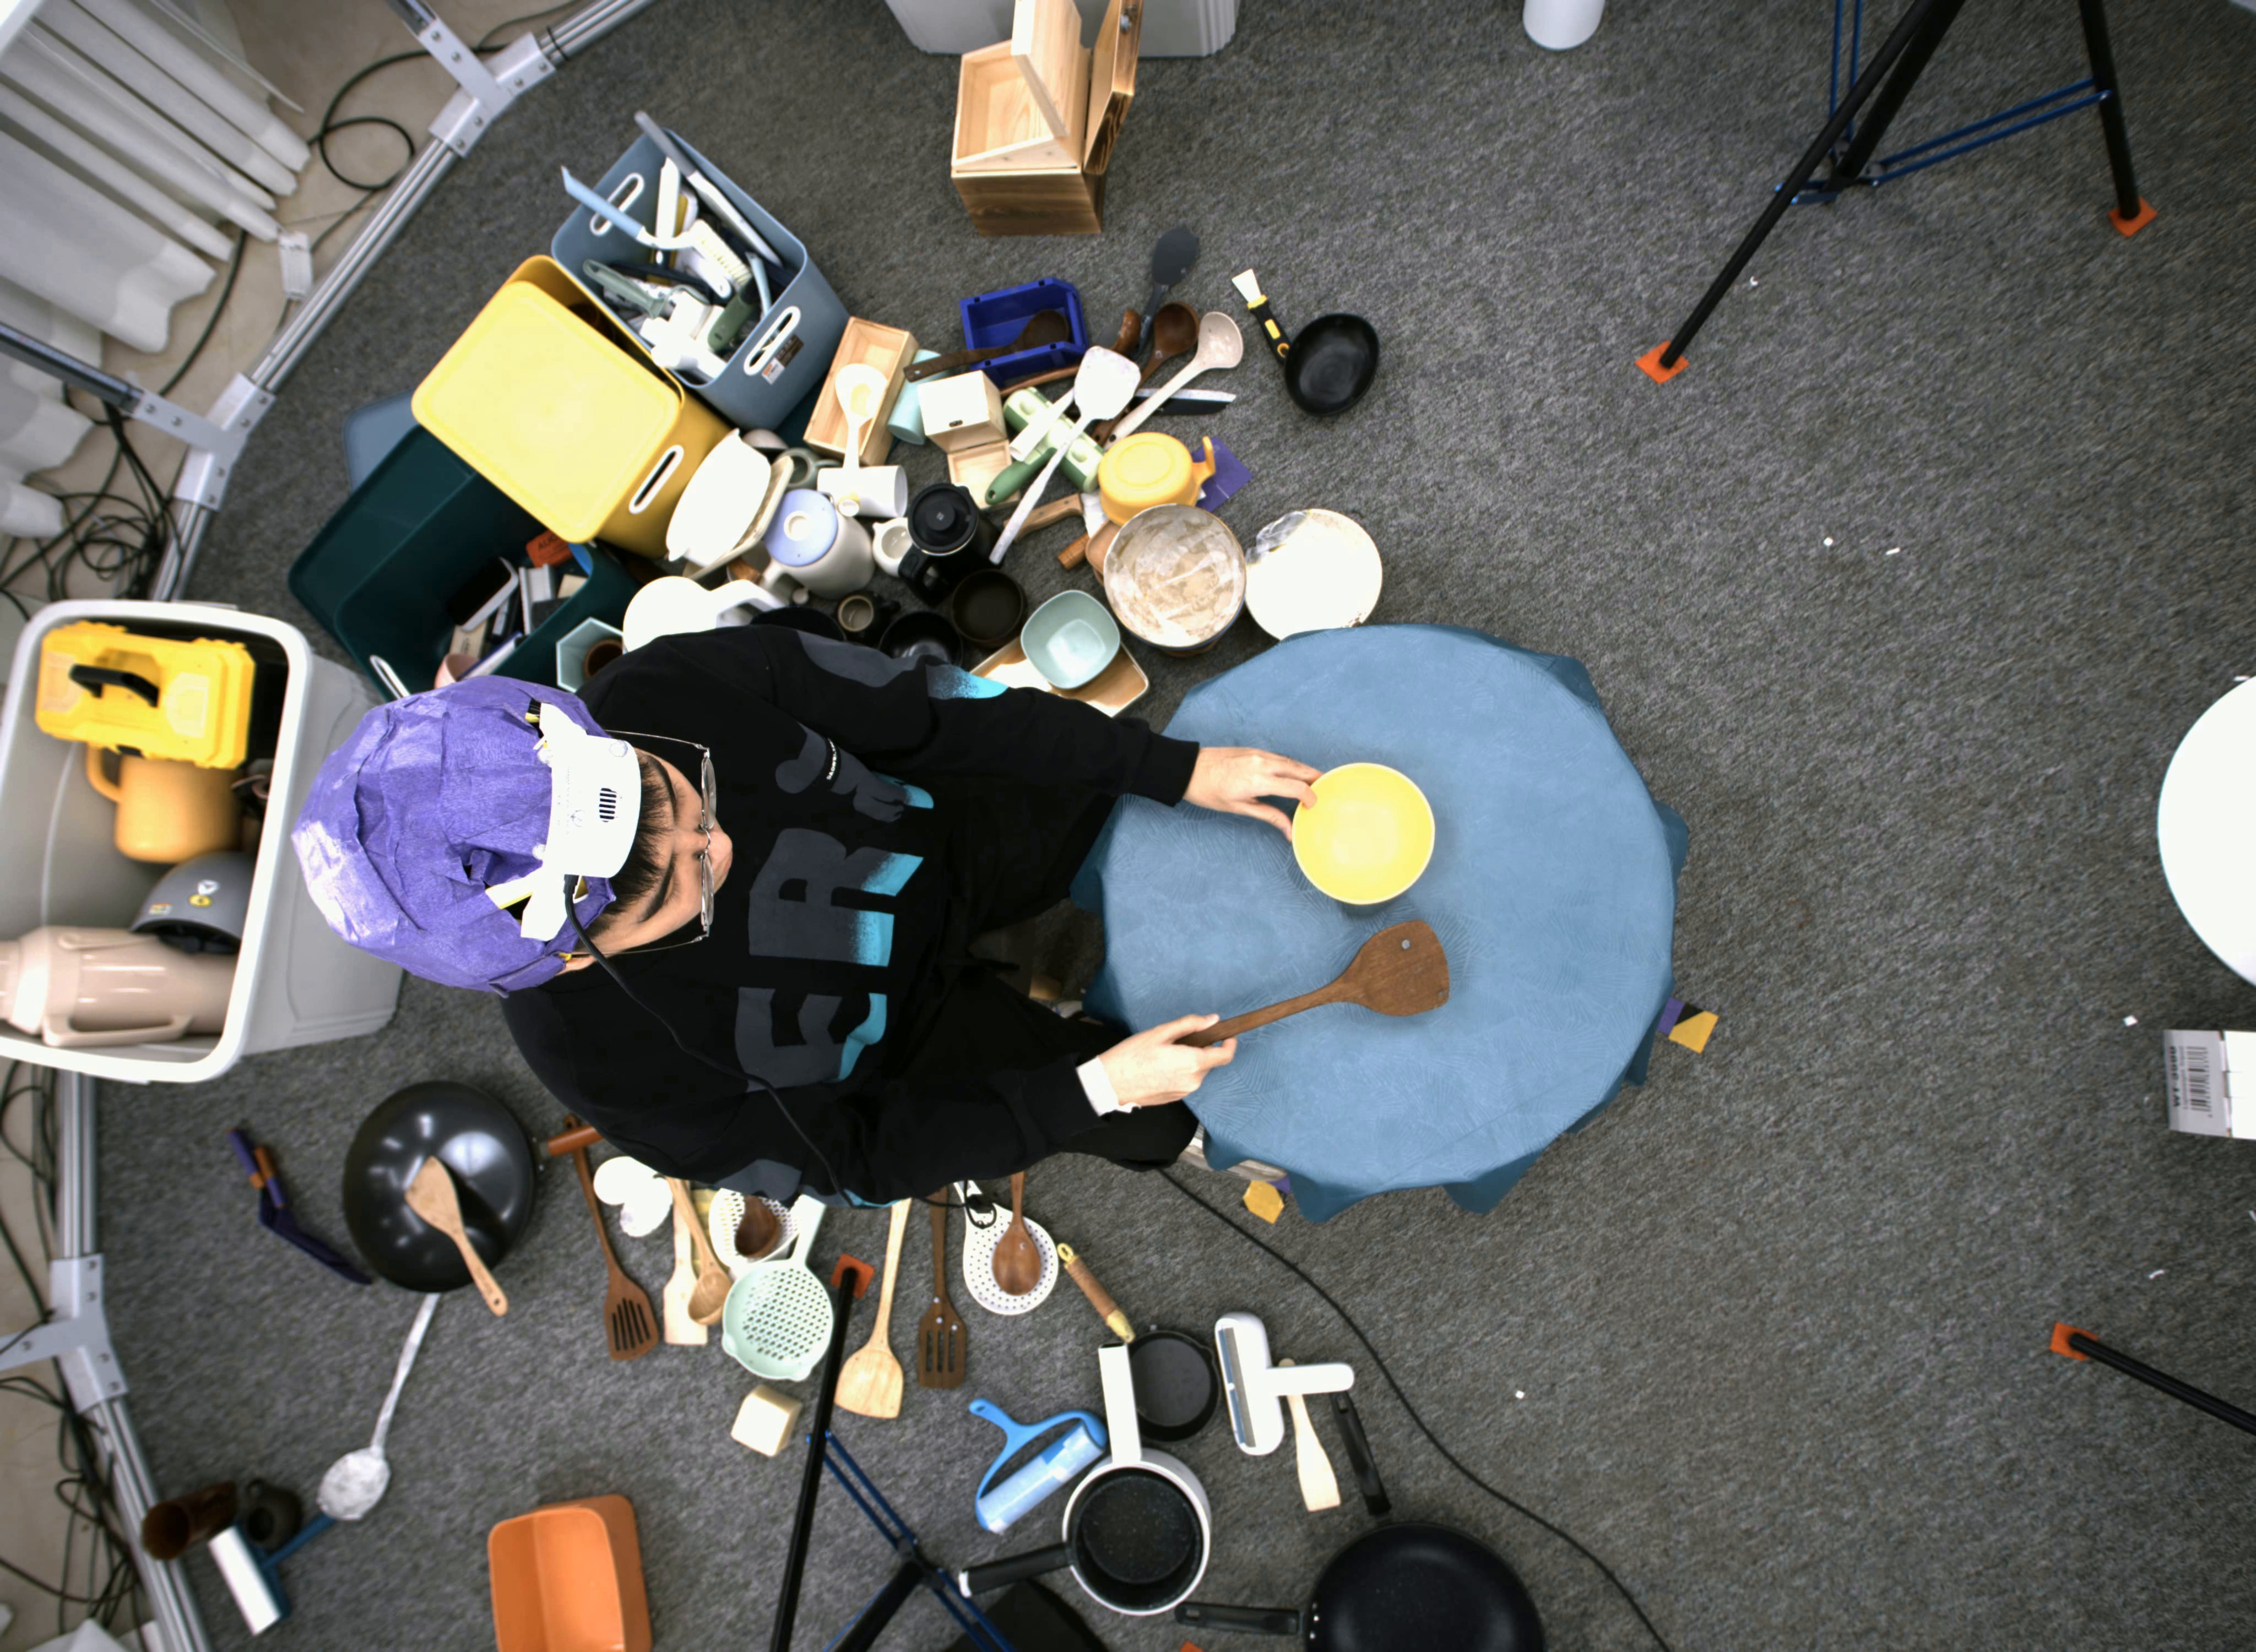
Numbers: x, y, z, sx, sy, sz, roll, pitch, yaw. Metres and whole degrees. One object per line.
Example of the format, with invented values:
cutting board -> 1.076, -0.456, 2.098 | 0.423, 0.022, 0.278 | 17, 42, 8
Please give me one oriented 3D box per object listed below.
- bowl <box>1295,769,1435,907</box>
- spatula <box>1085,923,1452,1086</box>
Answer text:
bowl -> 0.248, 0.015, 1.445 | 0.146, 0.060, 0.144 | -2, 83, 11
spatula -> 0.142, 0.192, 1.396 | 0.386, 0.016, 0.096 | -17, 96, -3
